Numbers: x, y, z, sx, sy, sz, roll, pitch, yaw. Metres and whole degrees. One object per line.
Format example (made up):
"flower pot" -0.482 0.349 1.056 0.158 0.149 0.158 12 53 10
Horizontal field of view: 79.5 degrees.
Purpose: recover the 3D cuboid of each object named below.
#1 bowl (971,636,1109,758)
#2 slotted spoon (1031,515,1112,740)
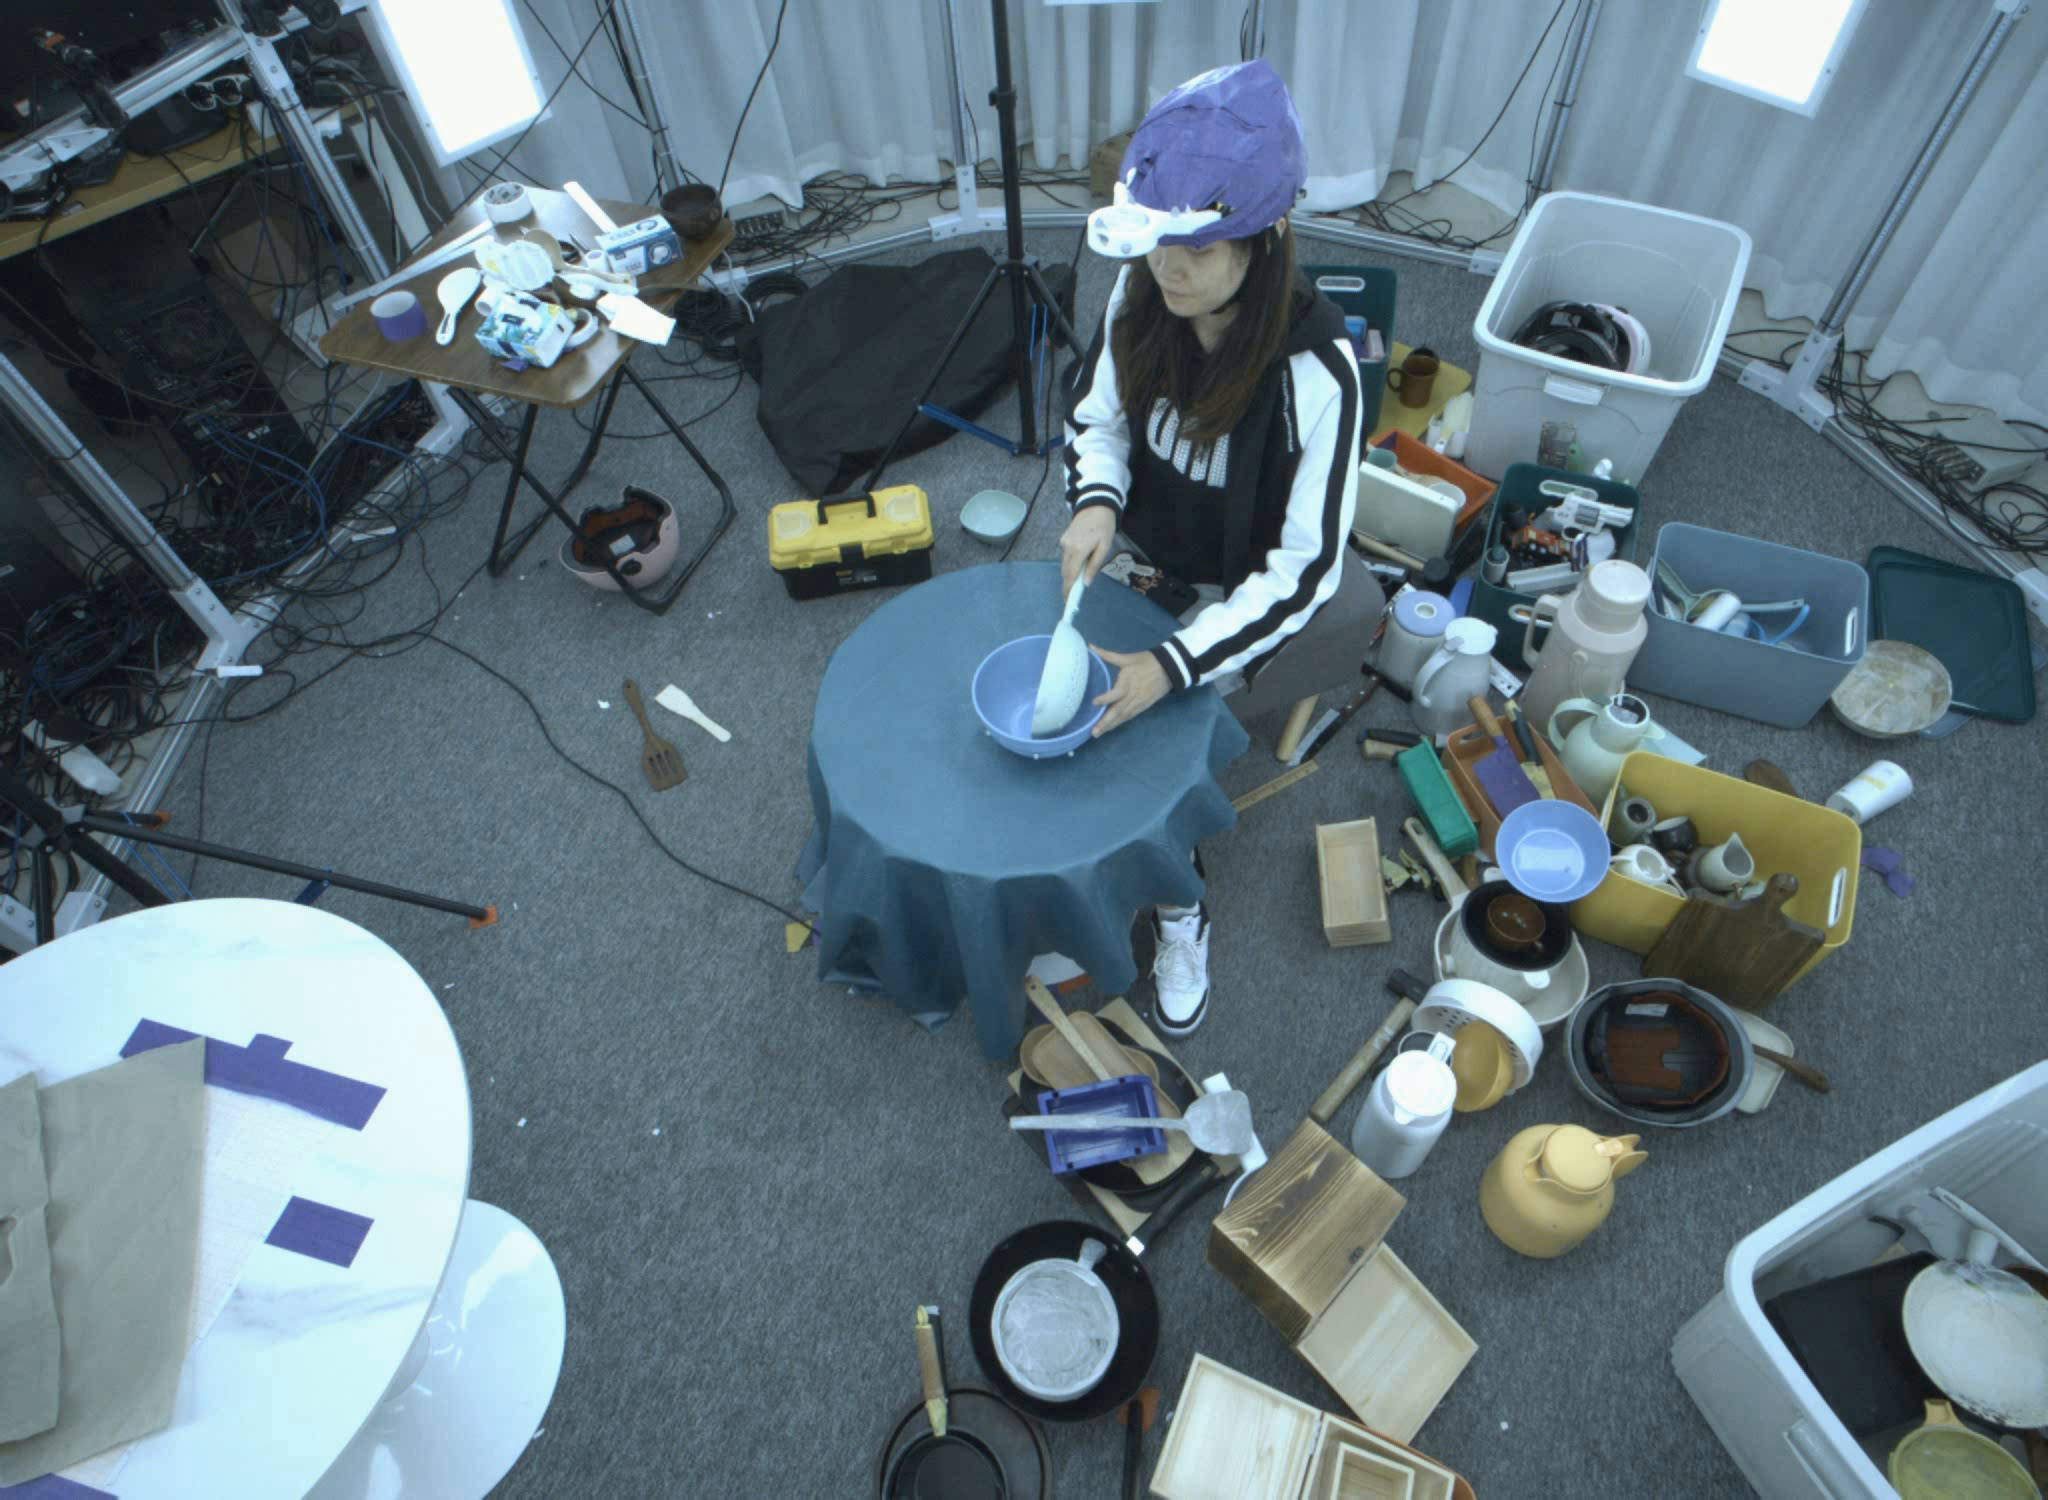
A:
"bowl" 0.025 -0.062 1.772 0.196 0.096 0.194 -1 55 2
"slotted spoon" 0.069 -0.184 1.757 0.075 0.170 0.357 8 70 0
